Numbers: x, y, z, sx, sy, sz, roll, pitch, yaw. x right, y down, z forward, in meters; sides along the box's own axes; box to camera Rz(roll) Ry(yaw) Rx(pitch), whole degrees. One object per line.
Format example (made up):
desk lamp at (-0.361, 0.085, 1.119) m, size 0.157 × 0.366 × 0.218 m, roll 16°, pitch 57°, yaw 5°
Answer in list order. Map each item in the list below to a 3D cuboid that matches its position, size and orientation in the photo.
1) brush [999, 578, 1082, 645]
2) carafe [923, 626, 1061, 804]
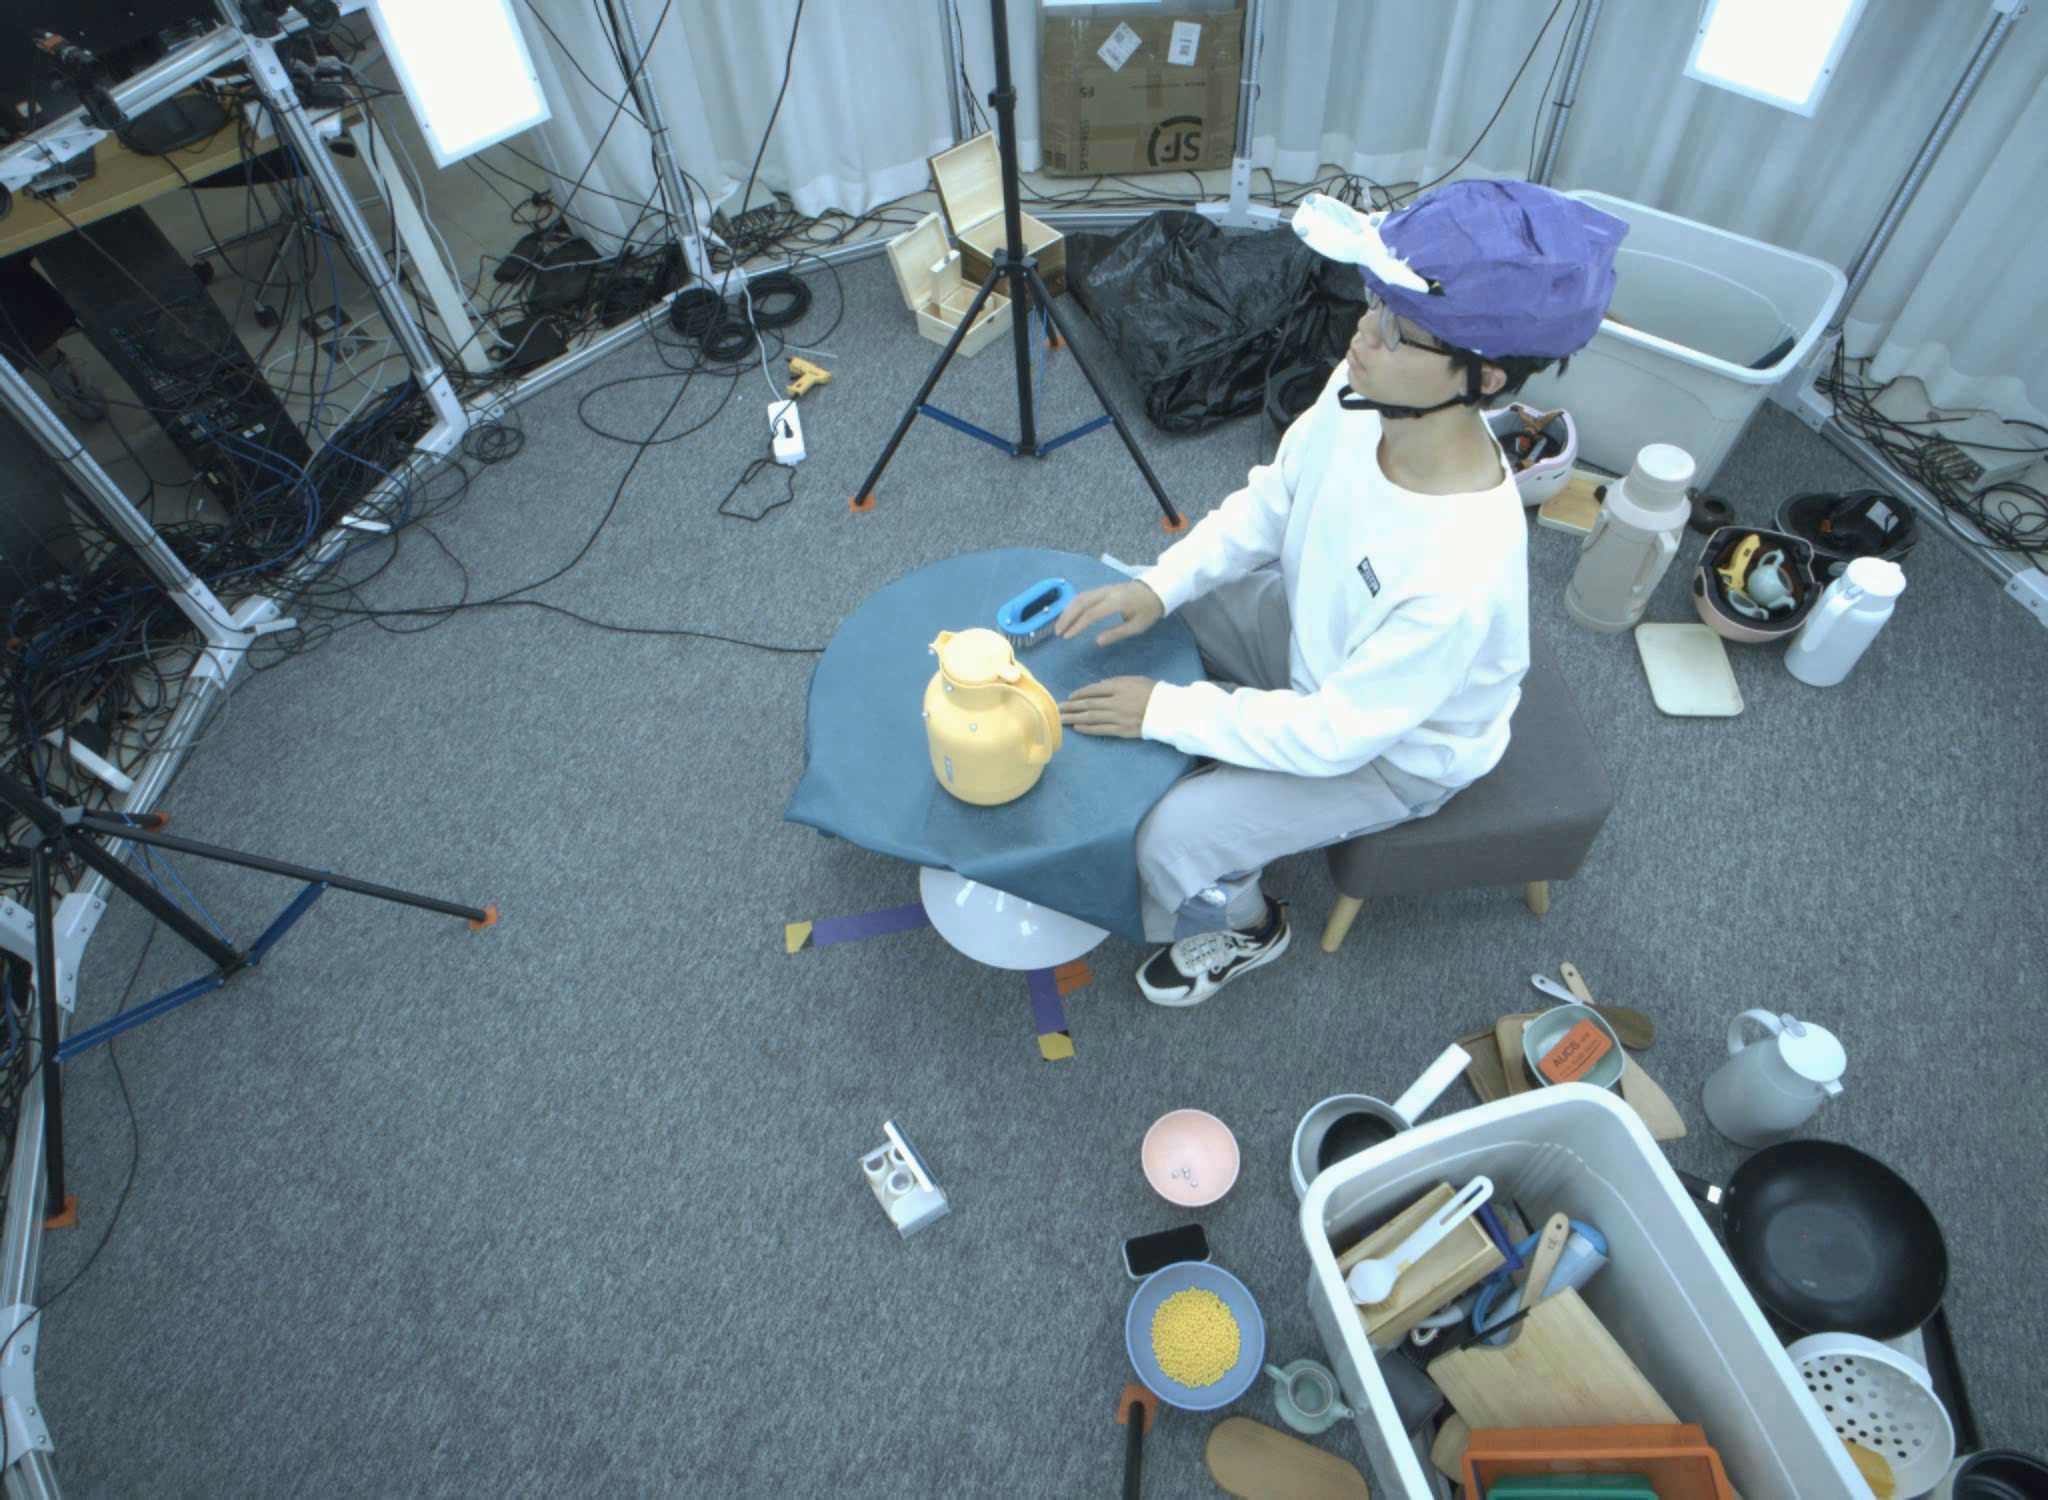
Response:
brush at (0.021, -0.226, 1.905) m, size 0.143 × 0.064 × 0.082 m, roll -33°, pitch 54°, yaw -21°
carafe at (-0.039, -0.043, 1.656) m, size 0.199 × 0.263 × 0.164 m, roll 29°, pitch 63°, yaw 23°
